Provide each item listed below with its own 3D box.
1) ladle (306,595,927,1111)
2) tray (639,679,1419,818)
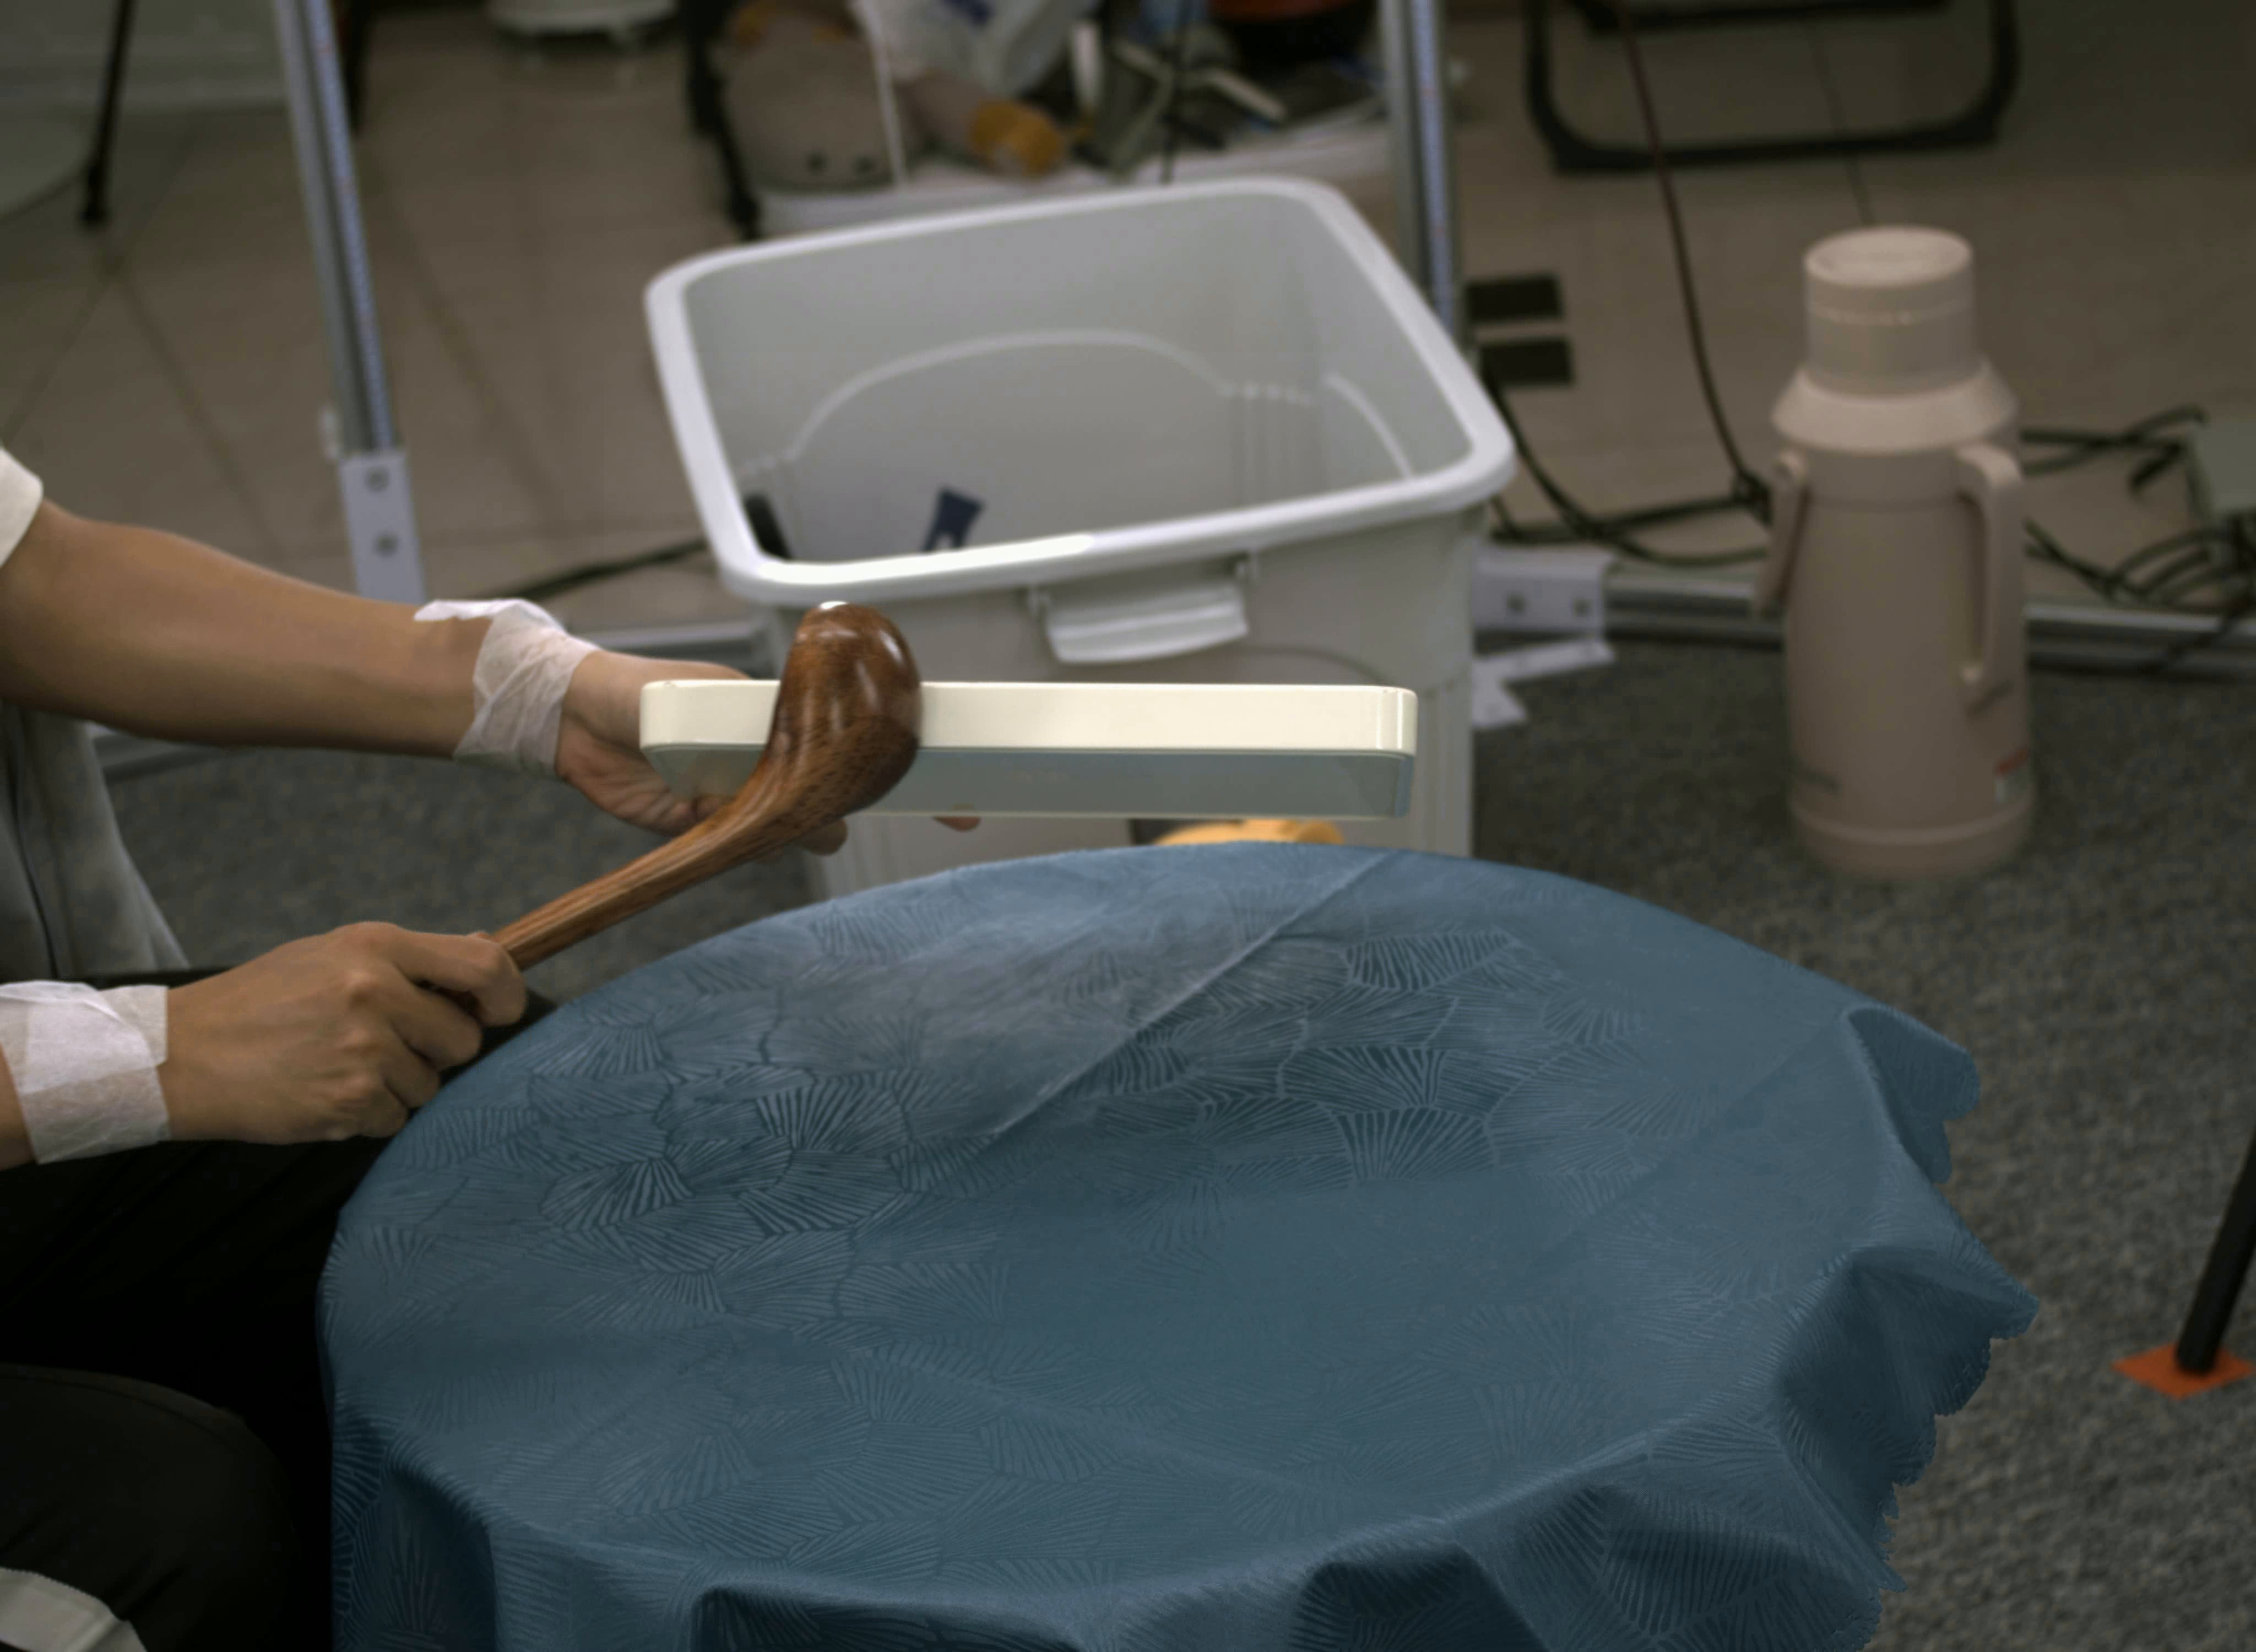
[{"bbox_3d":[-0.195,0.008,2.114,0.274,0.083,0.075,-30,40,3],"label":"ladle"},{"bbox_3d":[-0.036,-0.029,2.244,0.300,0.027,0.192,1,-8,2],"label":"tray"}]
